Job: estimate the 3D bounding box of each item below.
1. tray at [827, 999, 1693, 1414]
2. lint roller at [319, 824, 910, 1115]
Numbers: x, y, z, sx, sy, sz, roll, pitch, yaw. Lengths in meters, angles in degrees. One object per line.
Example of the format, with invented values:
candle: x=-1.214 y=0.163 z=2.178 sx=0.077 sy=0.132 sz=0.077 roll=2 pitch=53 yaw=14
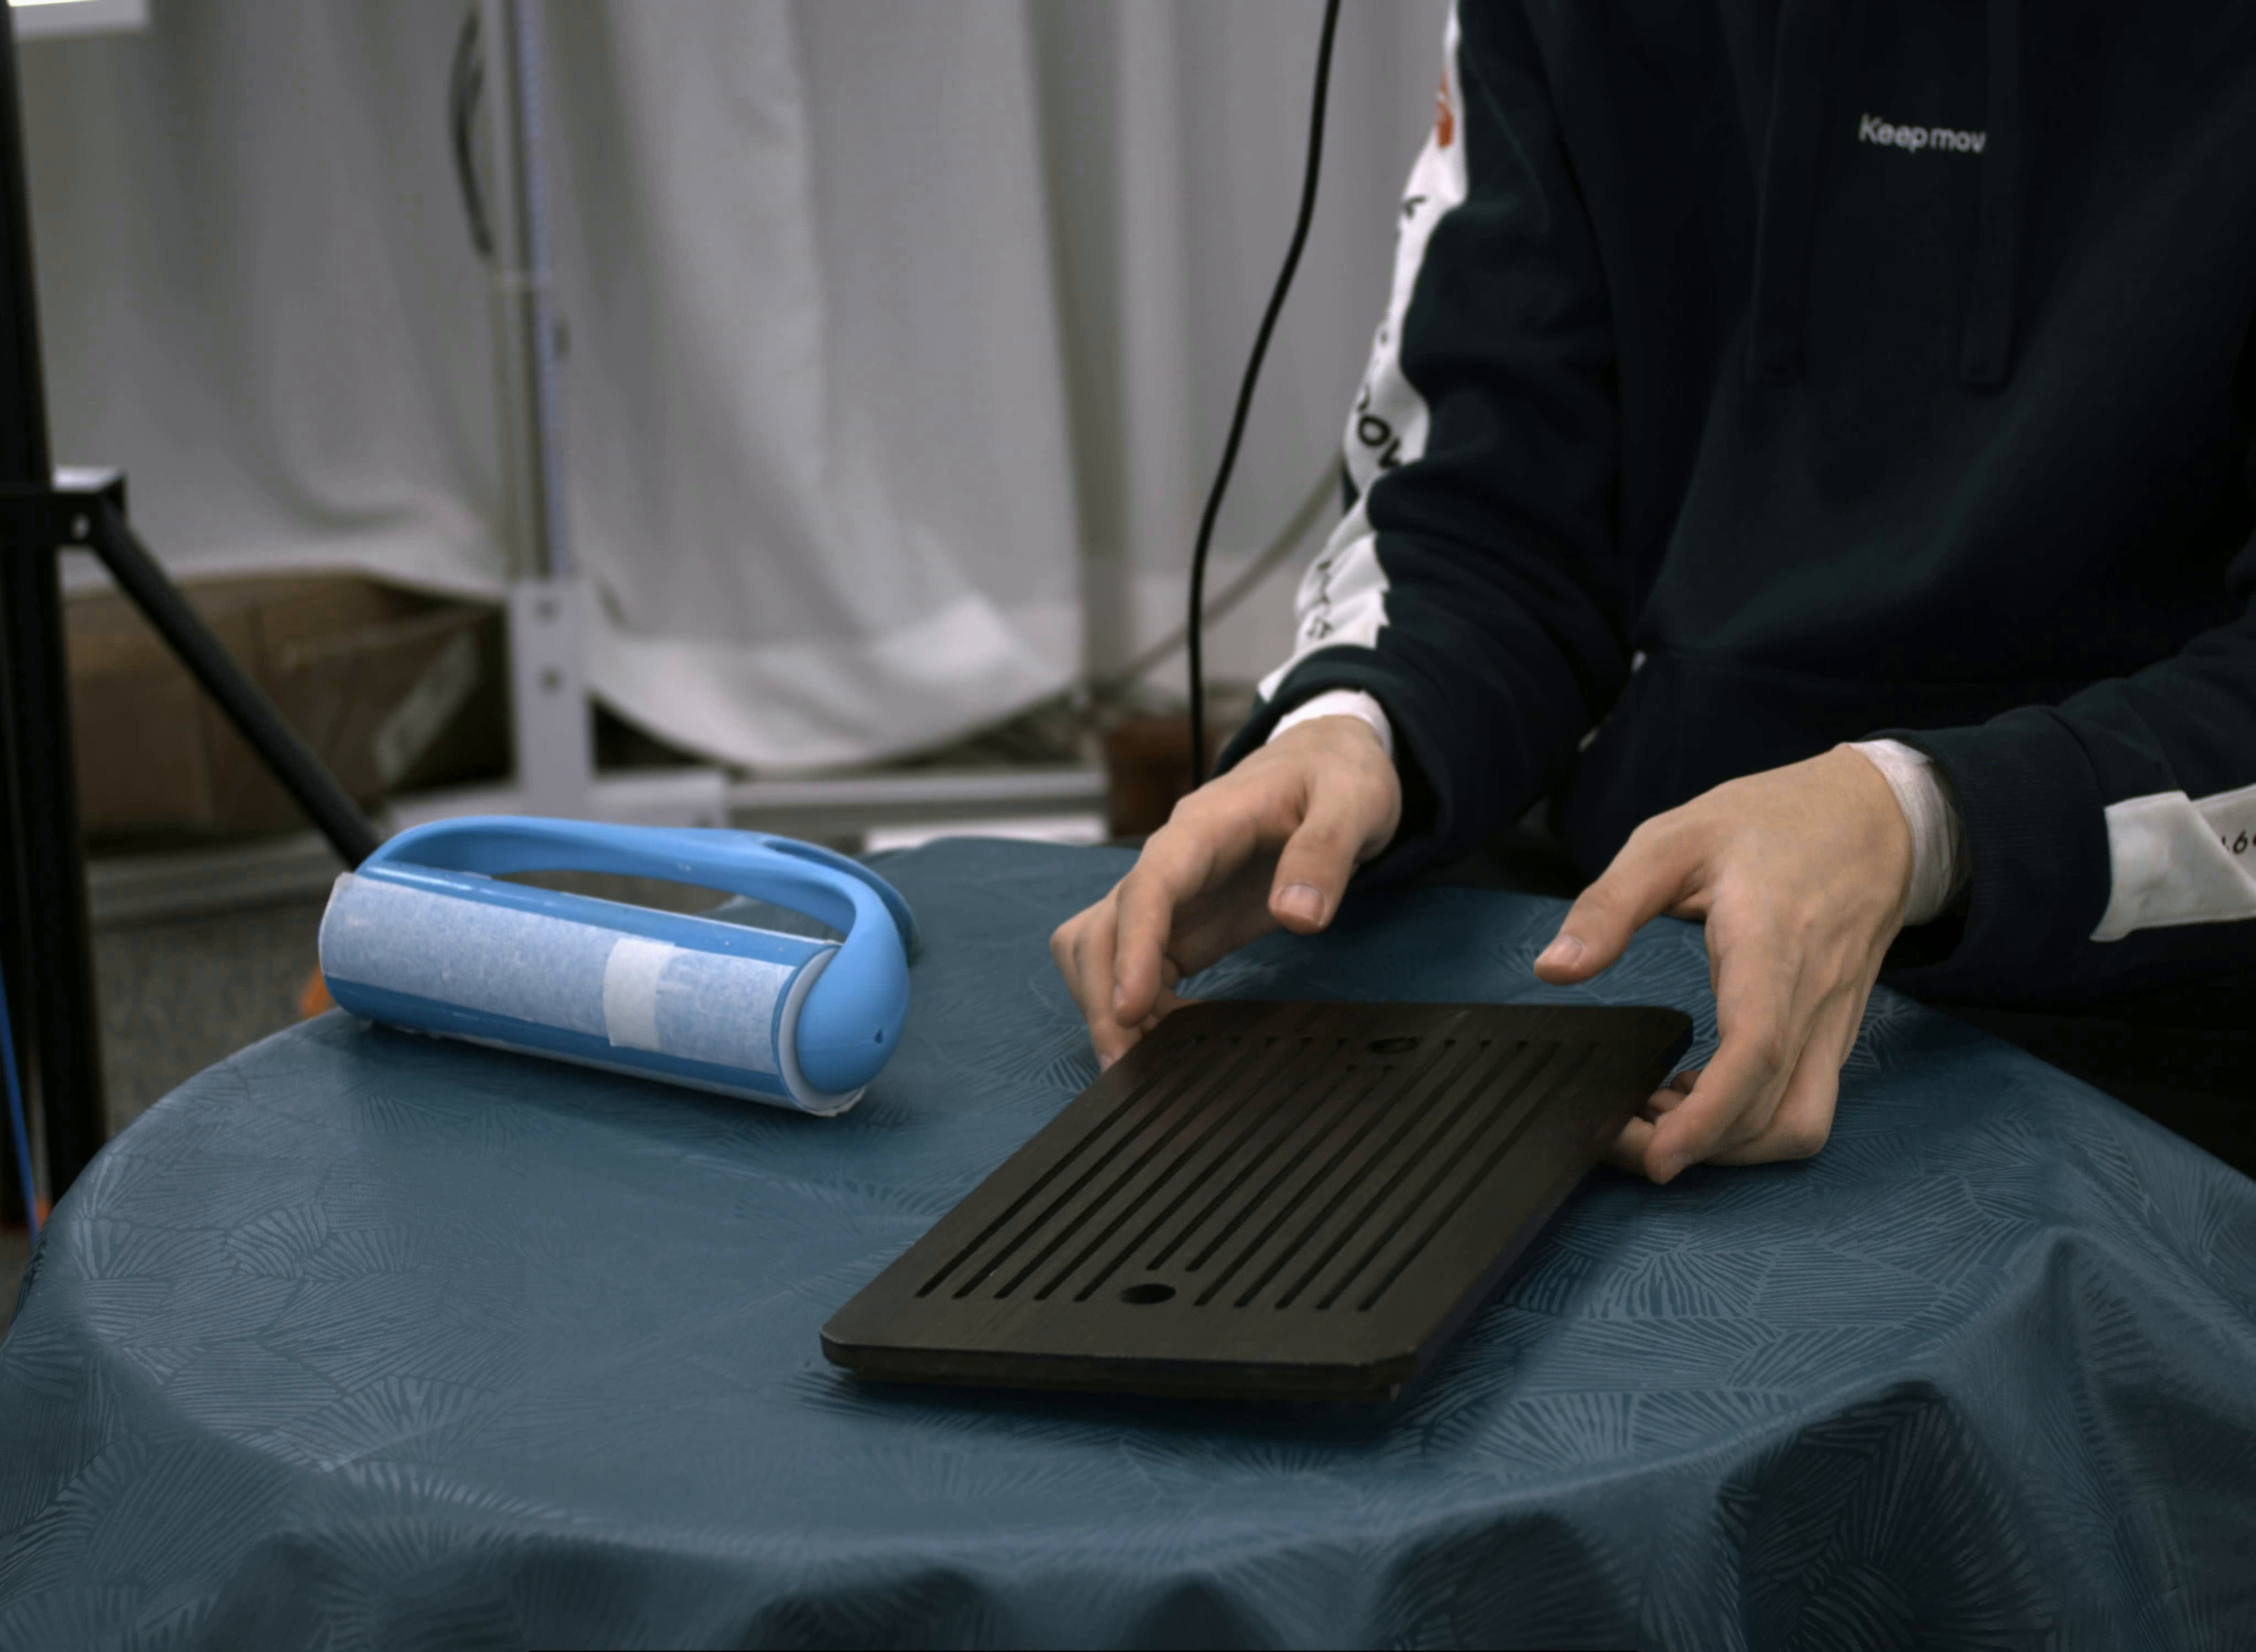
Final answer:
tray: x=0.047 y=0.105 z=1.513 sx=0.172 sy=0.018 sz=0.302 roll=0 pitch=16 yaw=21
lint roller: x=-0.135 y=0.034 z=1.737 sx=0.233 sy=0.068 sz=0.177 roll=6 pitch=20 yaw=35
